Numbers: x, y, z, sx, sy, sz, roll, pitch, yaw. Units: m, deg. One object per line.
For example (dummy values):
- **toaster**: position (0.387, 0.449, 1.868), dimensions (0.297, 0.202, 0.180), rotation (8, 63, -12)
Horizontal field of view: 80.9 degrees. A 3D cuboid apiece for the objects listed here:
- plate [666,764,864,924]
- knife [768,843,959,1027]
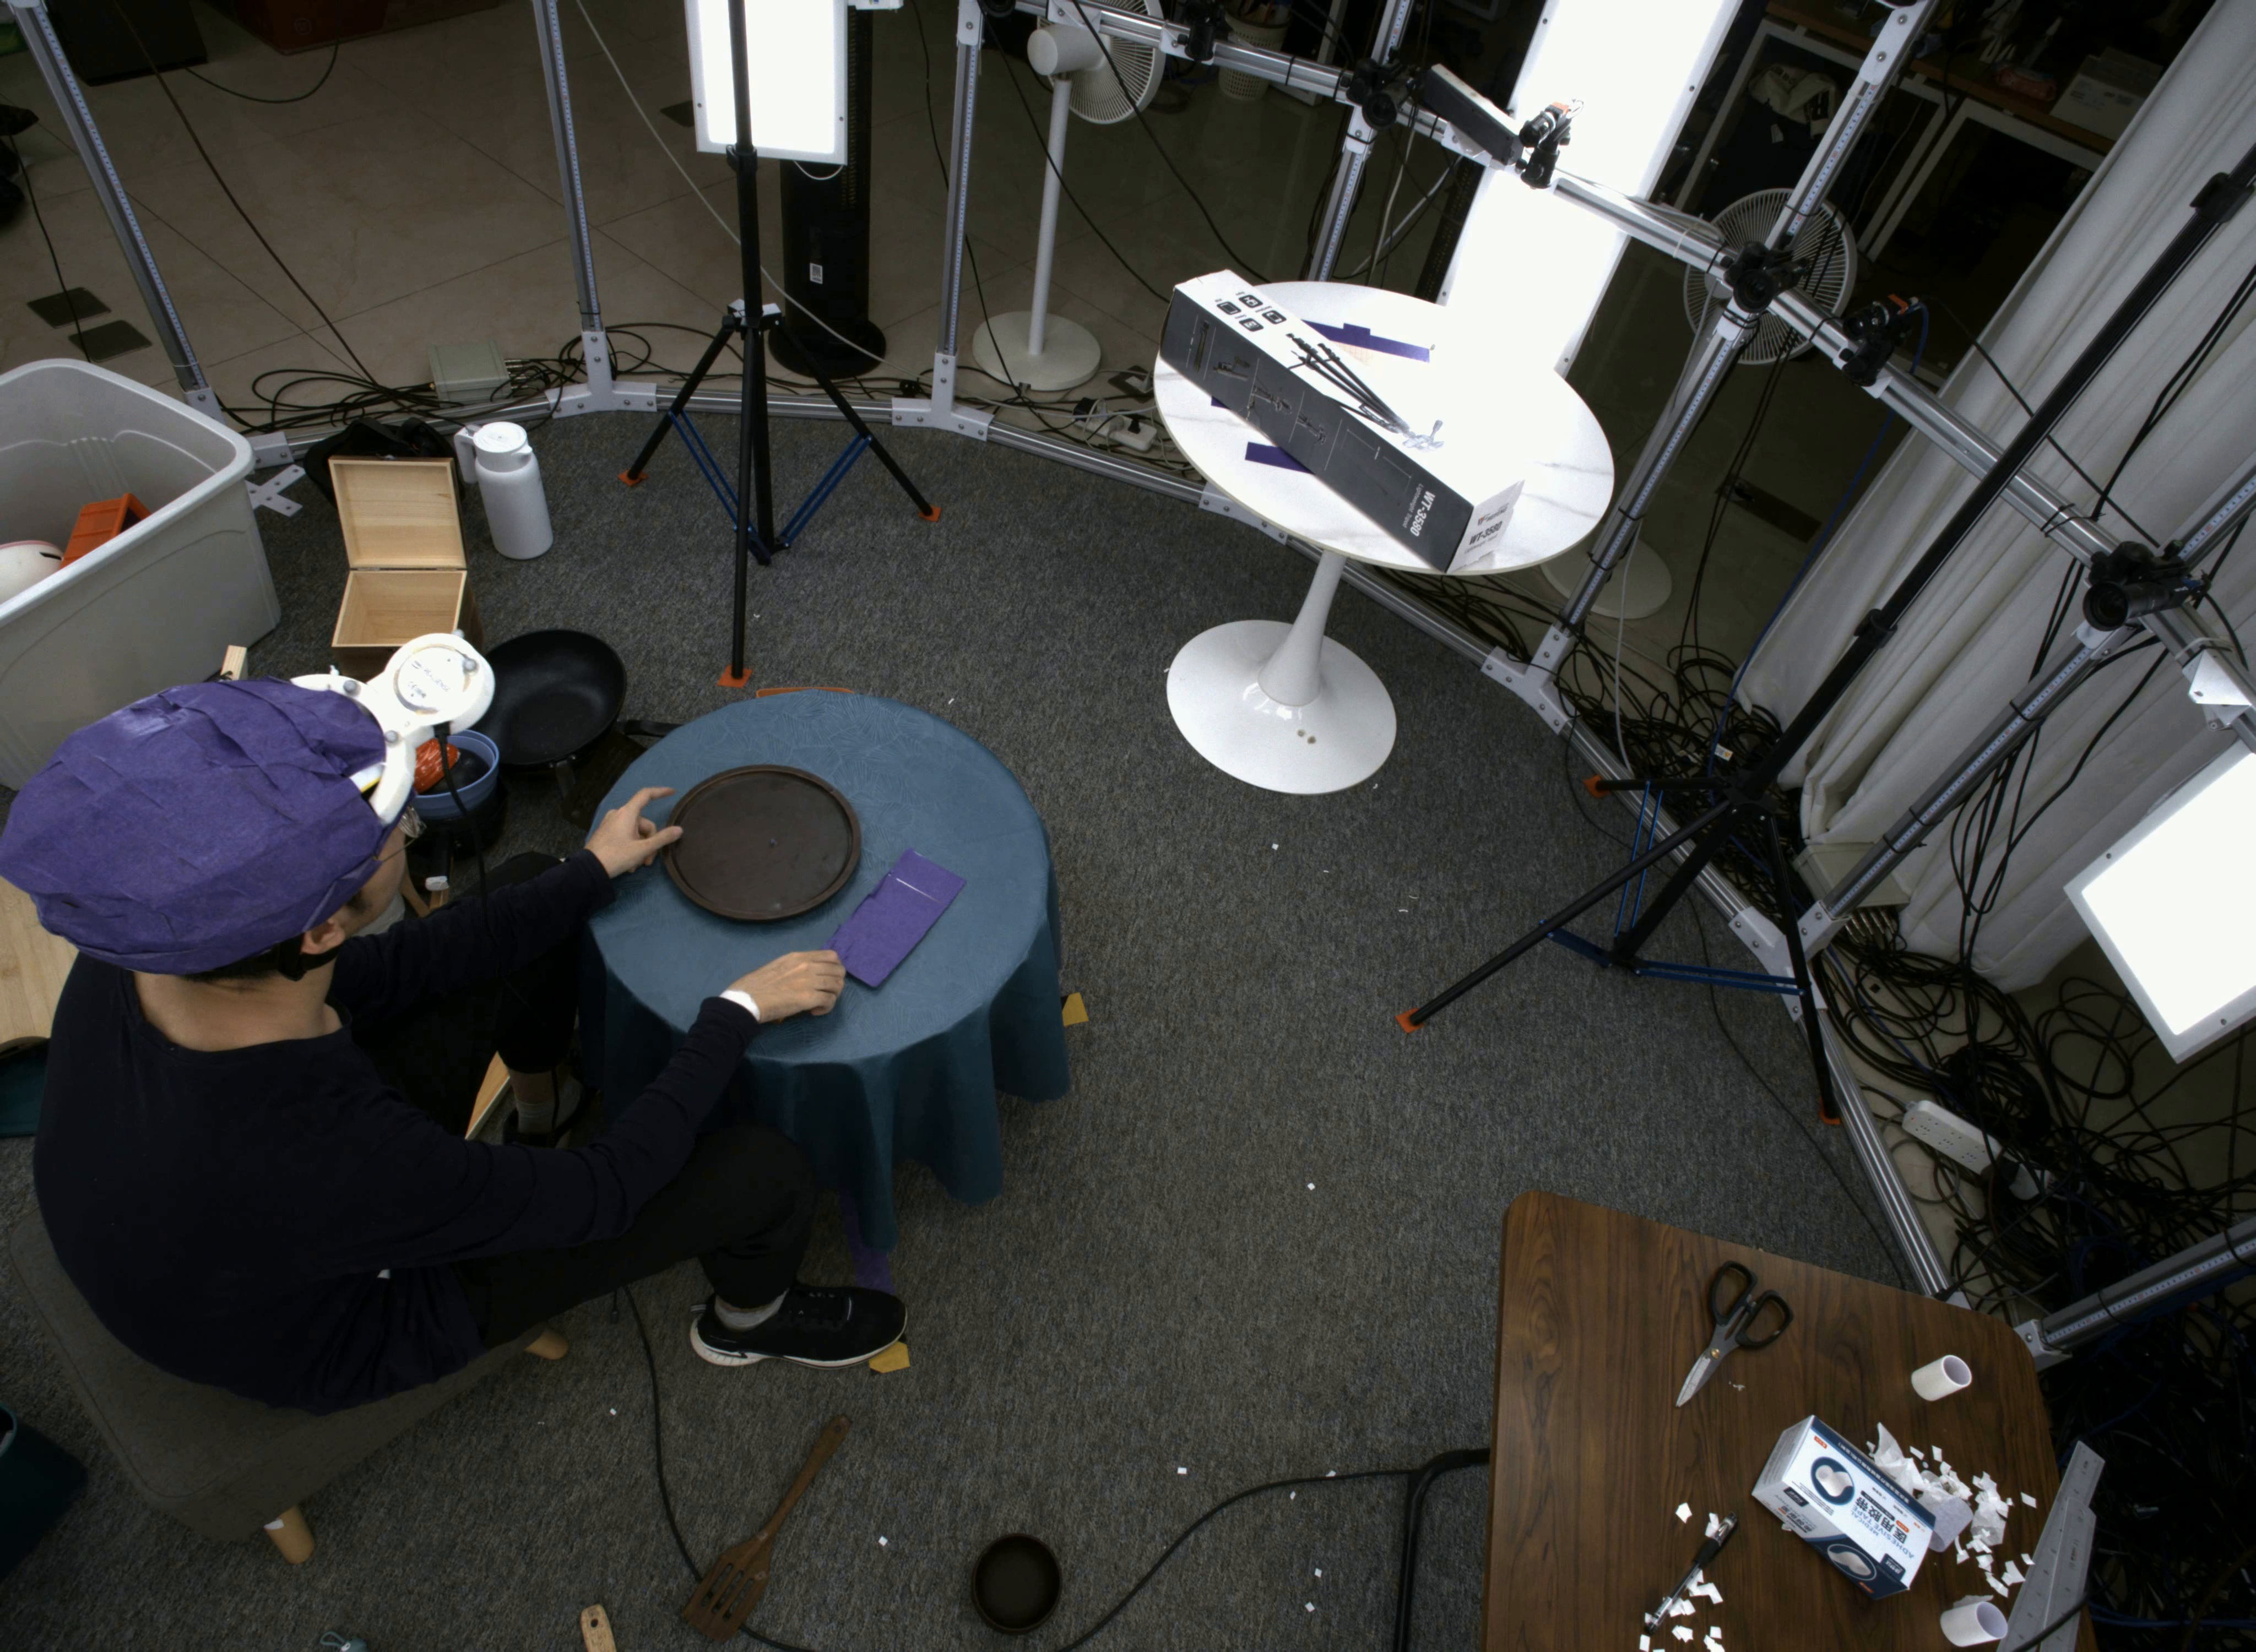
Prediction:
- **plate**: position (-0.473, 0.021, 1.692), dimensions (0.254, 0.029, 0.250), rotation (8, 52, -9)
- **knife**: position (-0.323, 0.141, 1.639), dimensions (0.102, 0.033, 0.314), rotation (29, 52, 8)
